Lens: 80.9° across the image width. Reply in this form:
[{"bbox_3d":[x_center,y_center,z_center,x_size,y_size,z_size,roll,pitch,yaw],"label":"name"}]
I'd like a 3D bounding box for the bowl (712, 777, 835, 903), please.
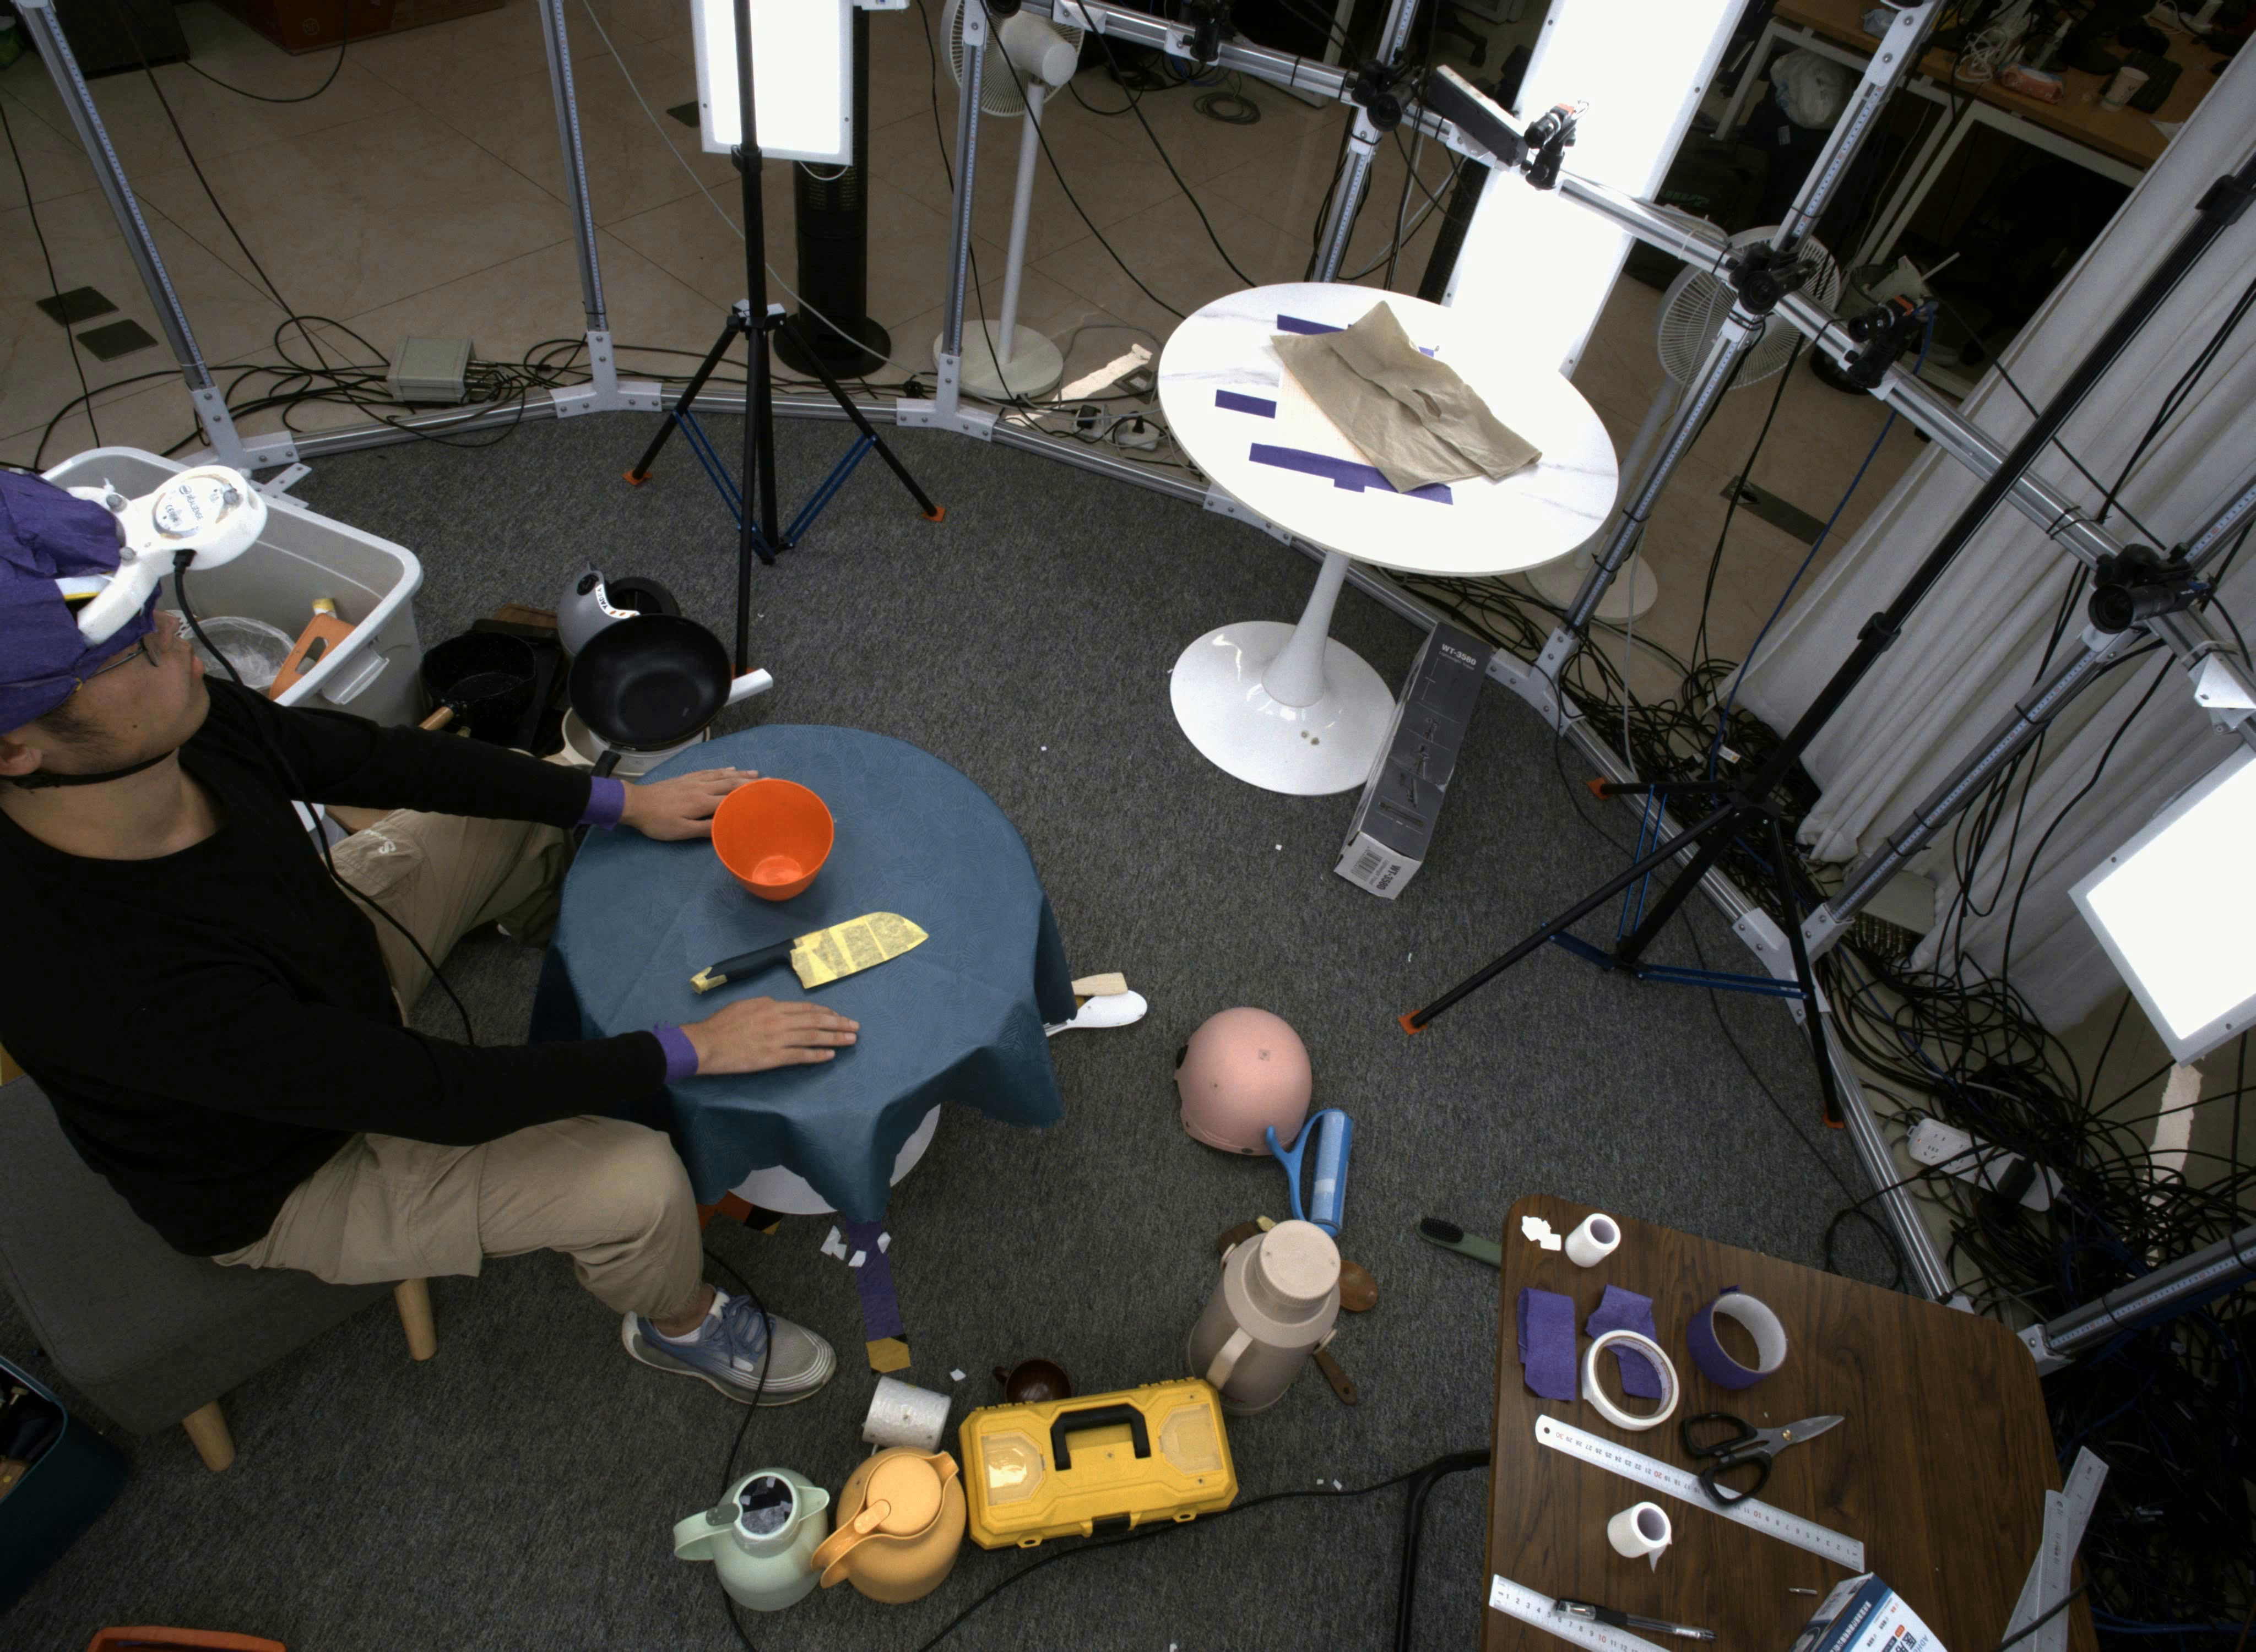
[{"bbox_3d":[-0.444,0.028,1.629,0.148,0.106,0.145,8,52,-9],"label":"bowl"}]

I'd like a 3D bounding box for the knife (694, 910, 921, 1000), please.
[{"bbox_3d":[-0.389,0.163,1.600,0.291,0.028,0.079,-18,57,-27],"label":"knife"}]
